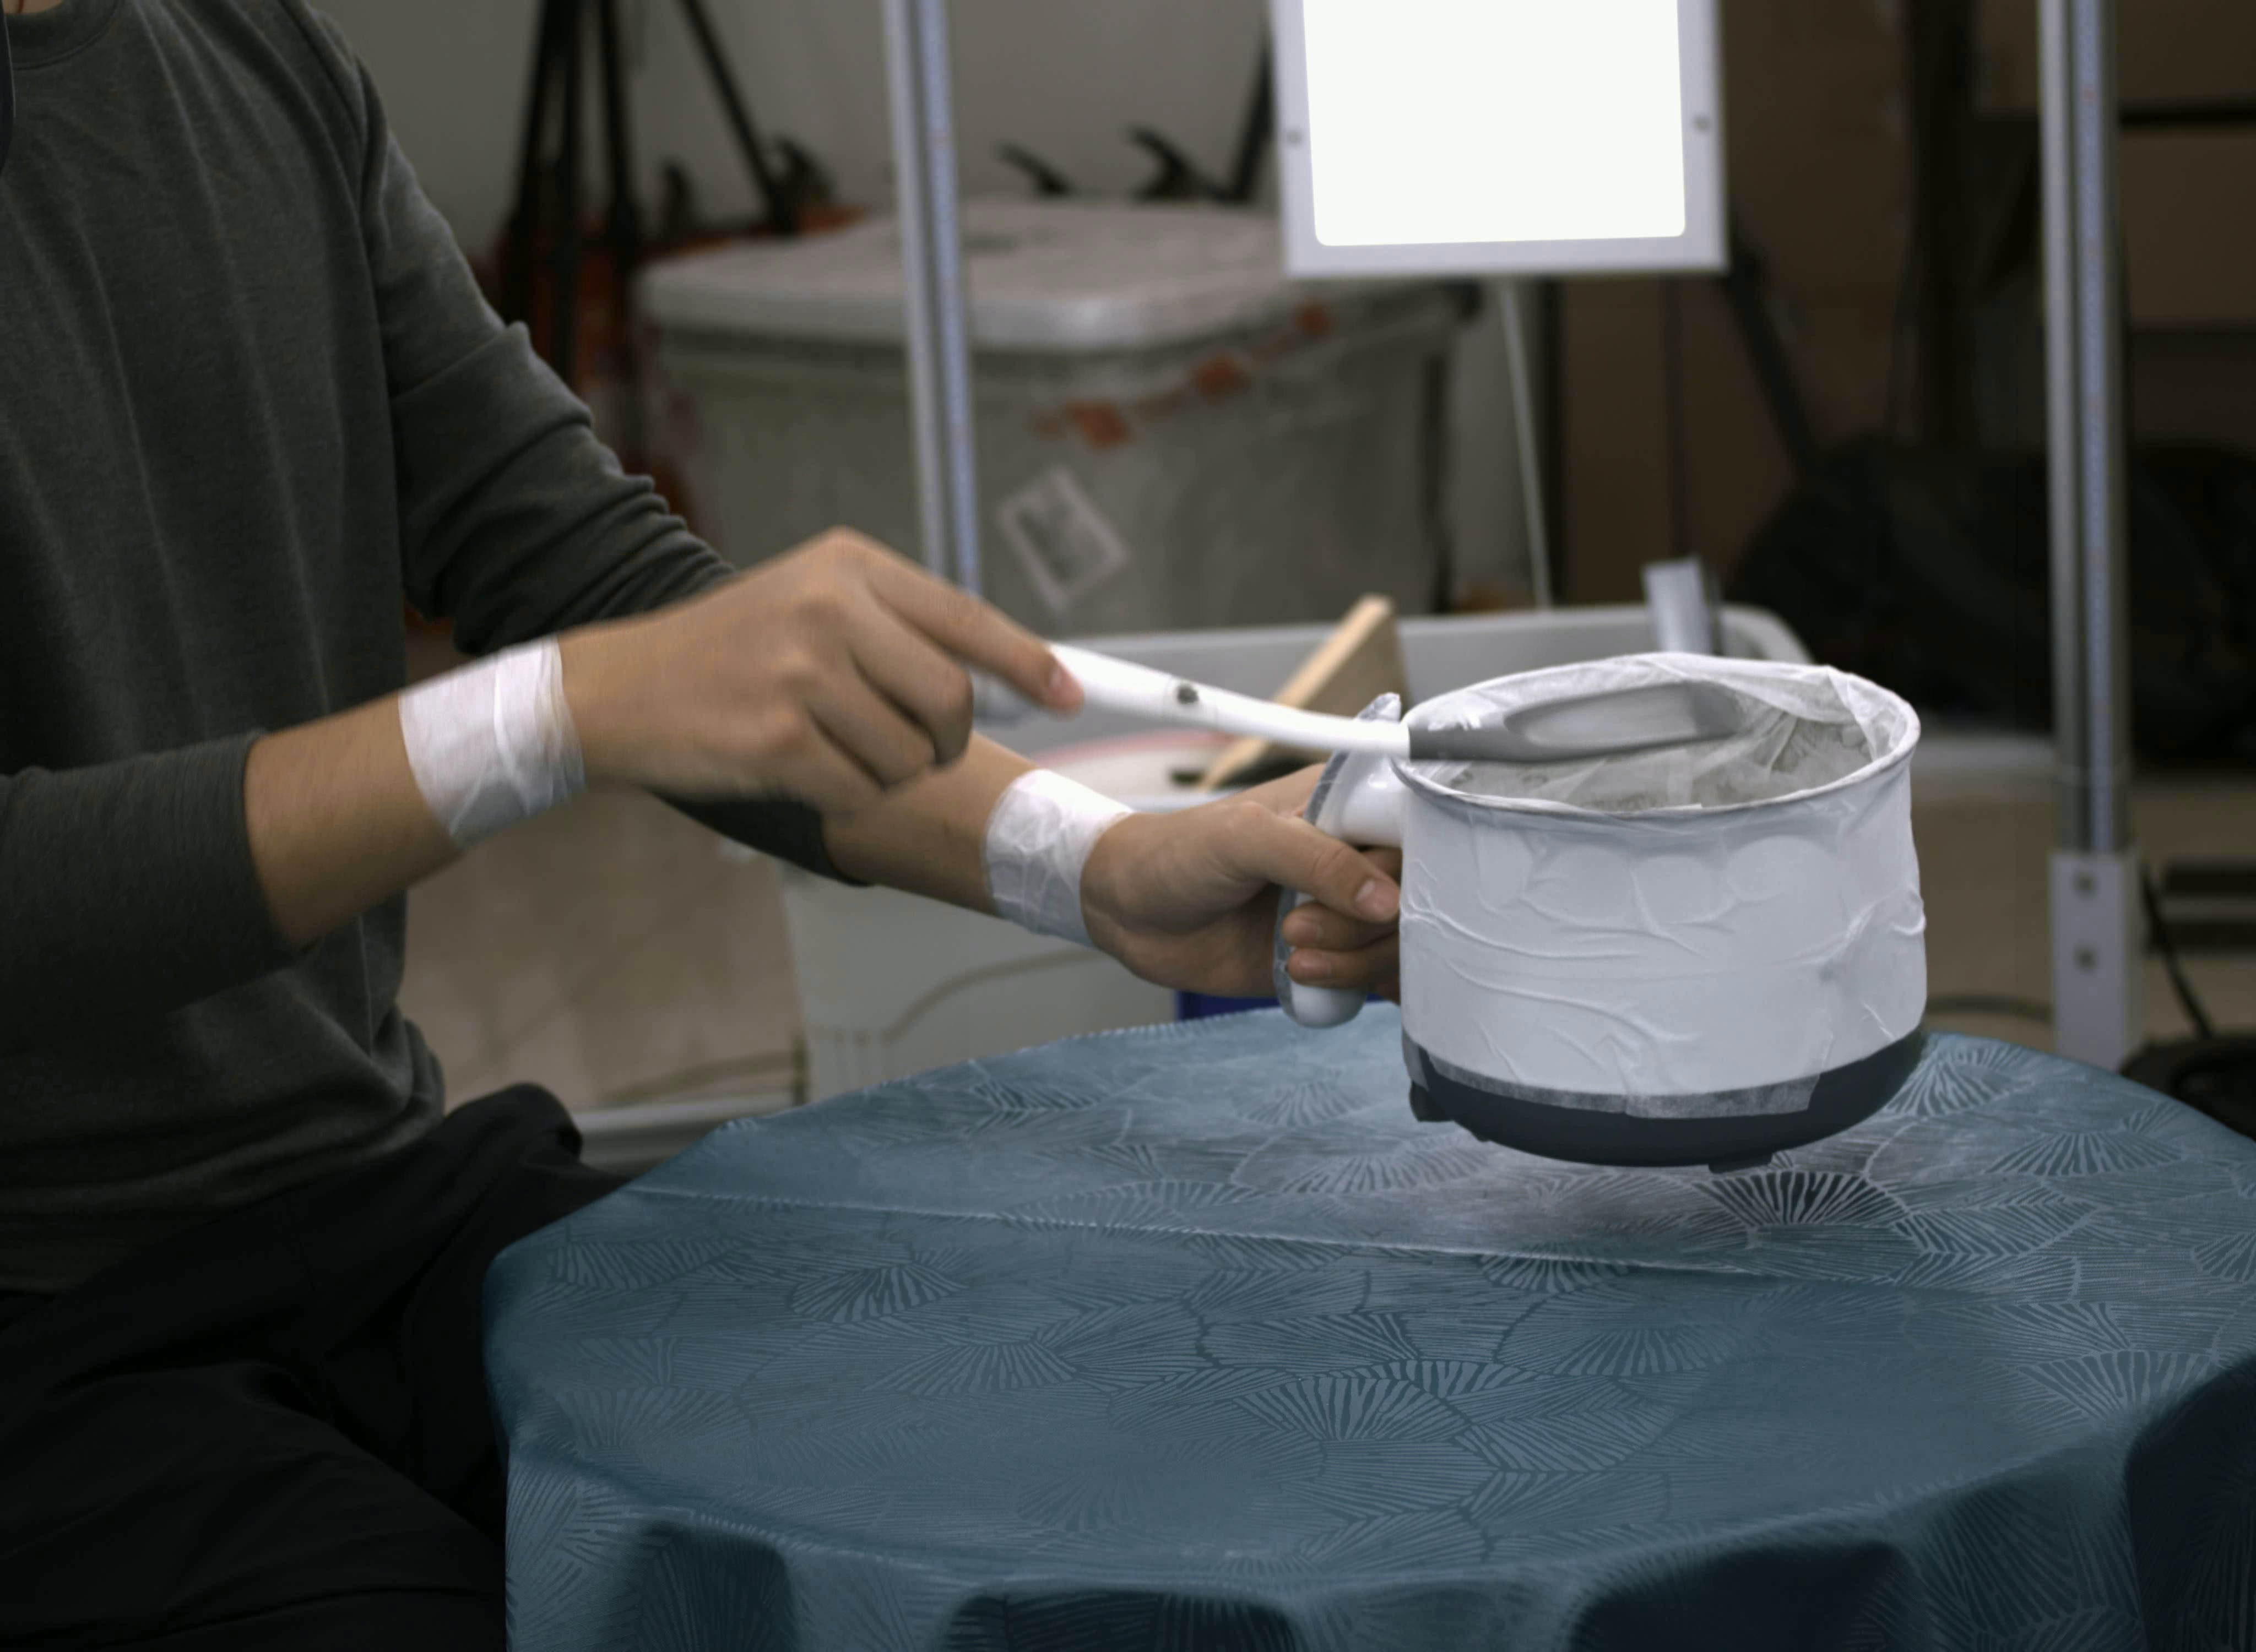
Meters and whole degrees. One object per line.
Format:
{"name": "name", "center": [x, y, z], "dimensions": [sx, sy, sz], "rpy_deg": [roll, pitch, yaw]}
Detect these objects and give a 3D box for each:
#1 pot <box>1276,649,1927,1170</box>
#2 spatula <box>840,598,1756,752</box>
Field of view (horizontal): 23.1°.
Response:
{"name": "pot", "center": [0.155, 0.025, 1.850], "dimensions": [0.238, 0.137, 0.175], "rpy_deg": [5, 20, 30]}
{"name": "spatula", "center": [0.053, -0.044, 1.725], "dimensions": [0.286, 0.032, 0.058], "rpy_deg": [5, 17, -3]}
